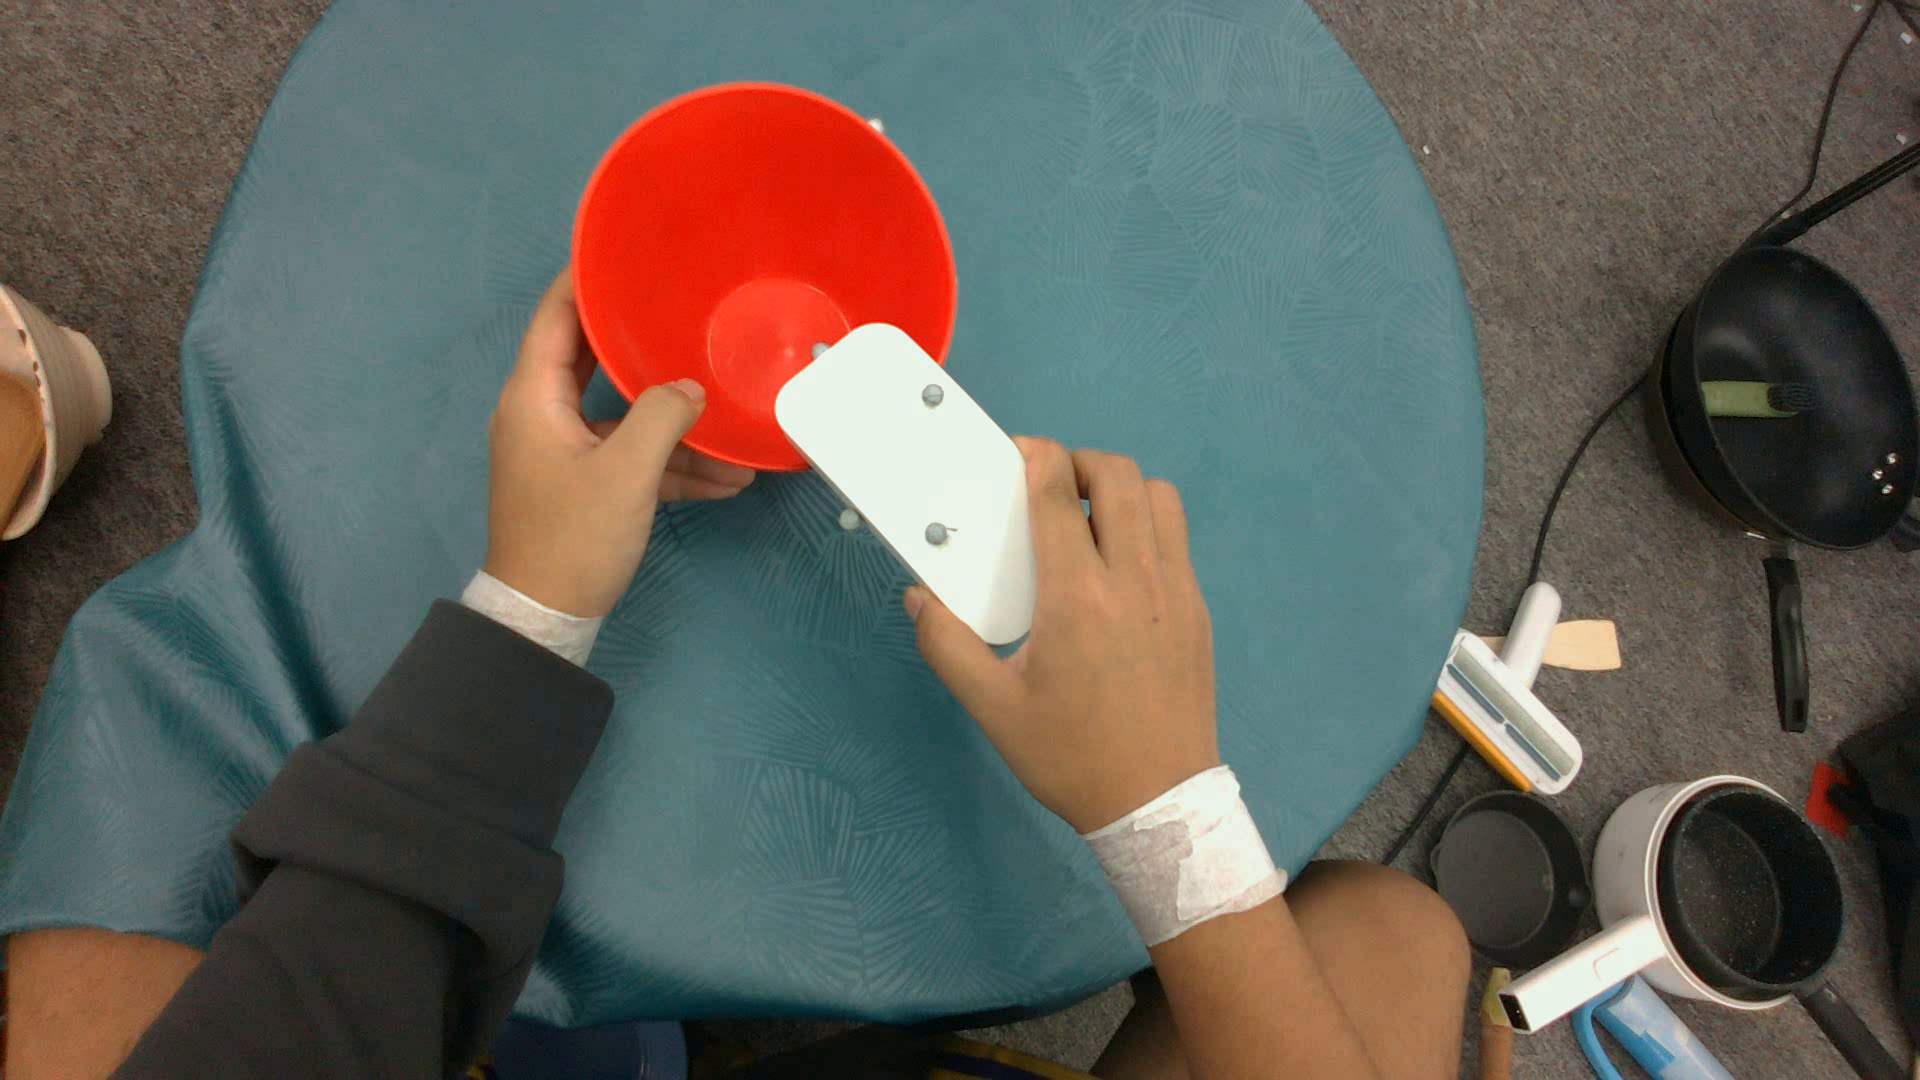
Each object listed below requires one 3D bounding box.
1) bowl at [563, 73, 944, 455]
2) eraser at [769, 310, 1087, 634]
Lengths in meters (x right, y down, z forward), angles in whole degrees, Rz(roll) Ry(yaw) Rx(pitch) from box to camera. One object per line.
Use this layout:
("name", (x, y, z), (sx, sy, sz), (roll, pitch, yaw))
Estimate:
("bowl", (-0.085, -0.103, 0.570), (0.148, 0.104, 0.148), (1, 84, -13))
("eraser", (-0.014, -0.025, 0.521), (0.063, 0.034, 0.131), (-39, 80, -15))
